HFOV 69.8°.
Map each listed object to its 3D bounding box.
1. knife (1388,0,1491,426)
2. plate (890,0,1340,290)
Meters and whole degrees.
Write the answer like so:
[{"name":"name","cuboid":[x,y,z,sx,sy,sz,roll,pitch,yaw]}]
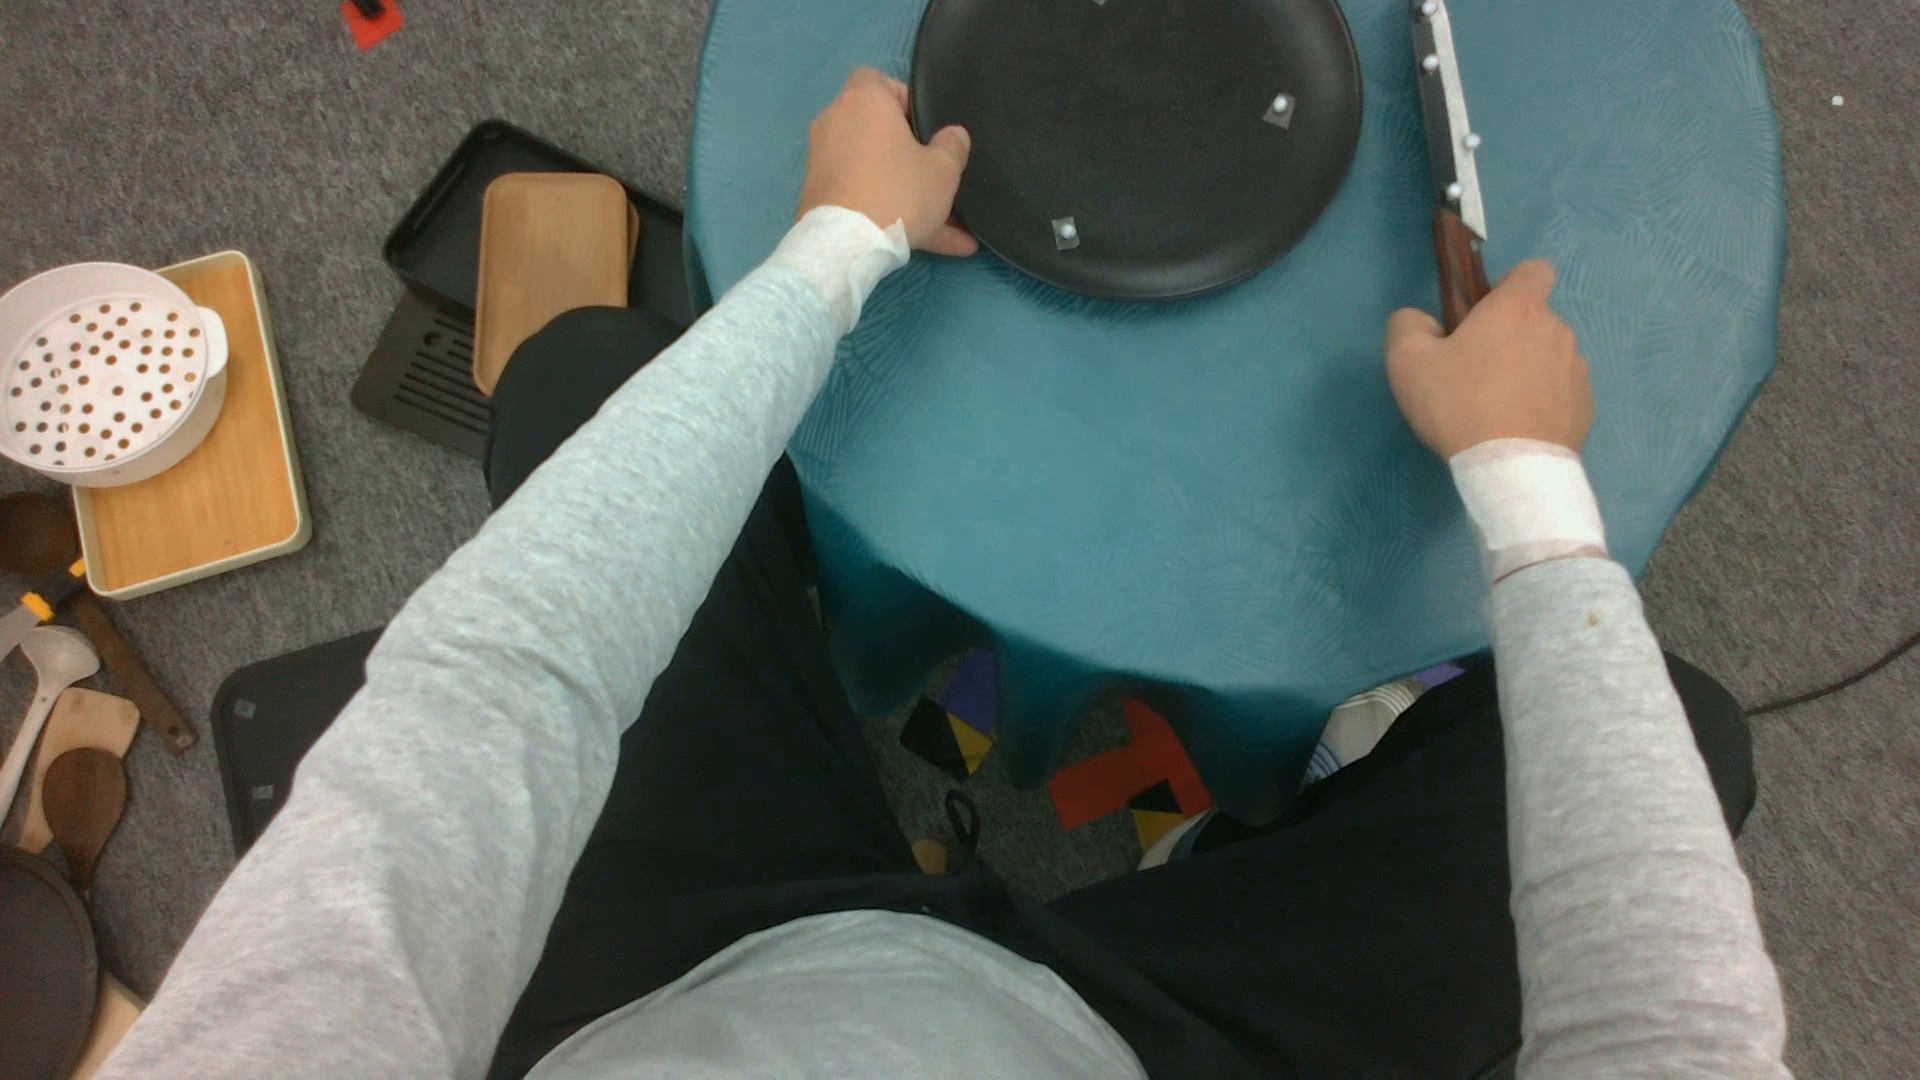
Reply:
[{"name":"knife","cuboid":[0.250,-0.192,0.729,0.050,0.020,0.290,18,64,-41]},{"name":"plate","cuboid":[0.084,-0.248,0.749,0.244,0.023,0.245,0,79,-2]}]
